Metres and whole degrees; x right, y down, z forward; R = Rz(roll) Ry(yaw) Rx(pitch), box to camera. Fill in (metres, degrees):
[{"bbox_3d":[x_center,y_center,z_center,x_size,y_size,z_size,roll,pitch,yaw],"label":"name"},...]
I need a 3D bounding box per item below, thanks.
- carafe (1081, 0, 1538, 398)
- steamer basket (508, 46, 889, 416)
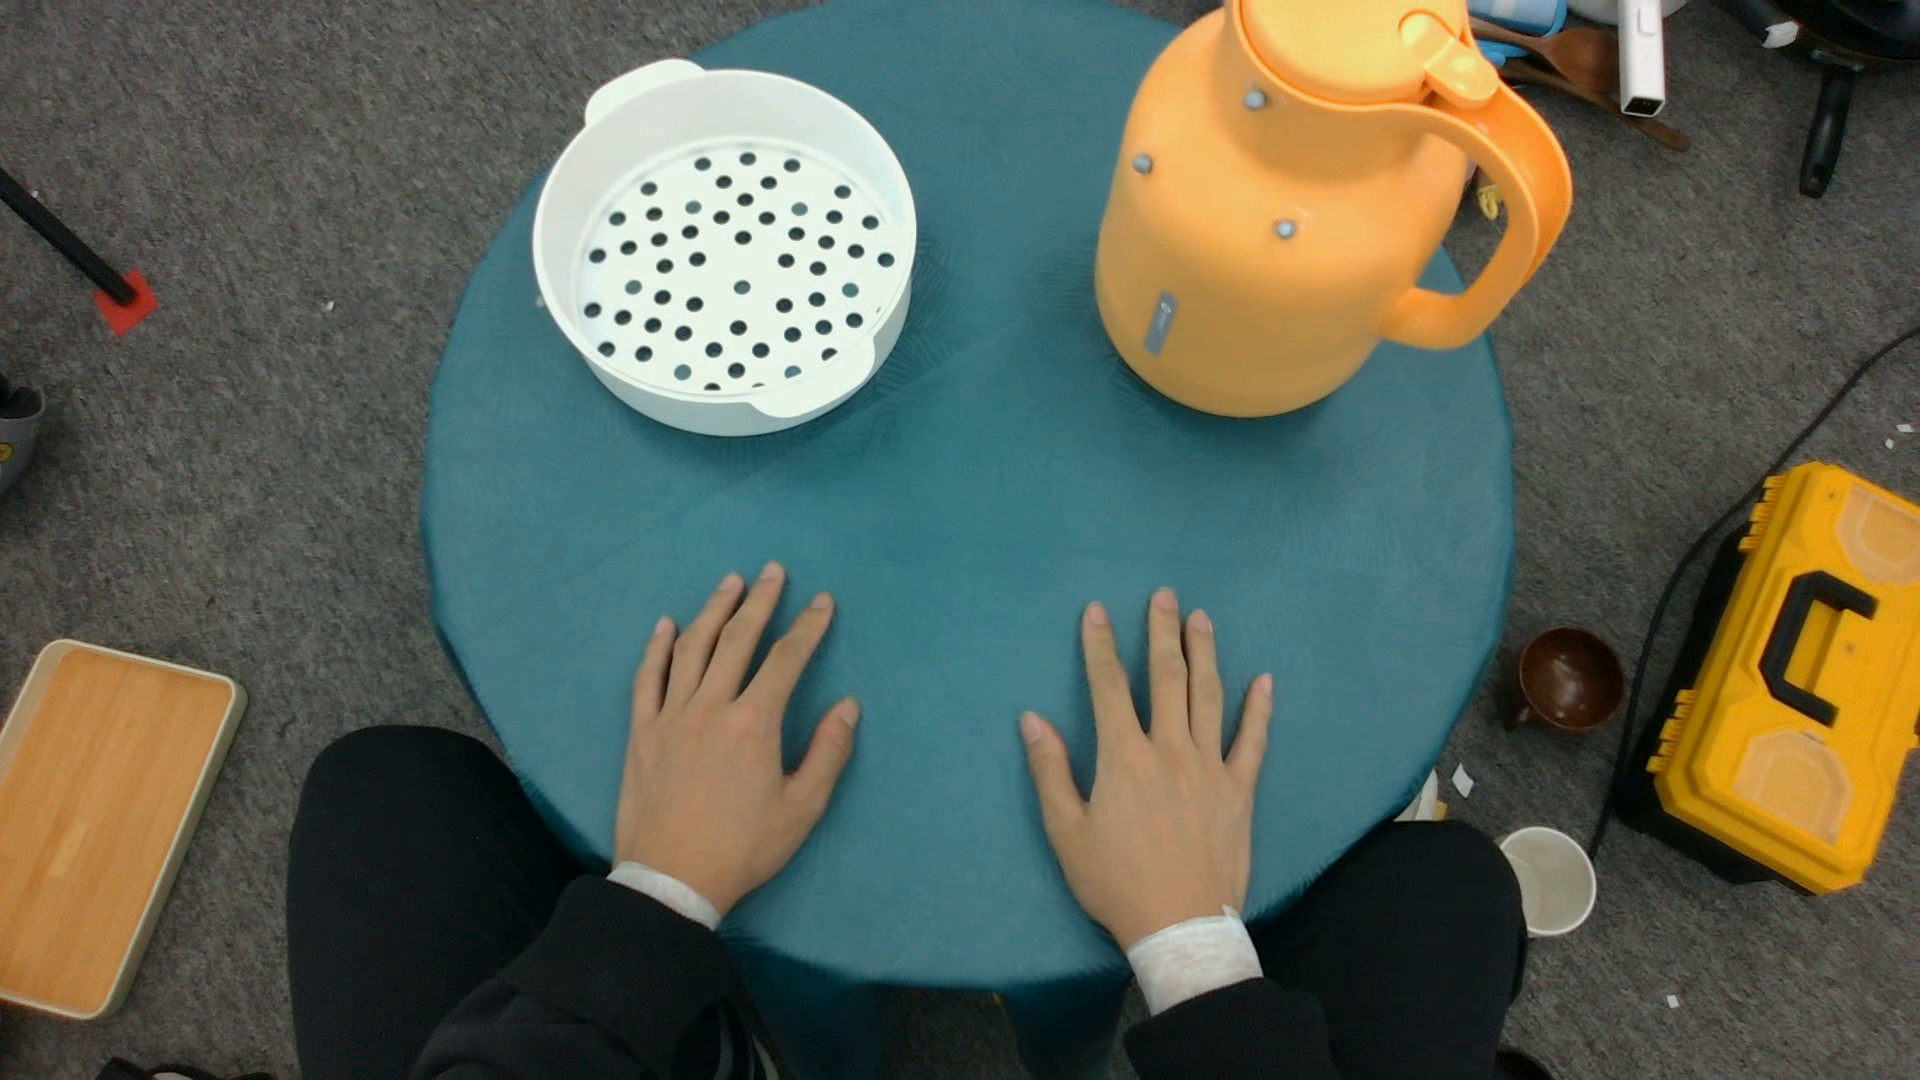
[{"bbox_3d":[0.161,-0.173,0.668,0.202,0.259,0.164,42,77,13],"label":"carafe"},{"bbox_3d":[-0.140,-0.166,0.759,0.202,0.069,0.231,-29,73,-12],"label":"steamer basket"}]
